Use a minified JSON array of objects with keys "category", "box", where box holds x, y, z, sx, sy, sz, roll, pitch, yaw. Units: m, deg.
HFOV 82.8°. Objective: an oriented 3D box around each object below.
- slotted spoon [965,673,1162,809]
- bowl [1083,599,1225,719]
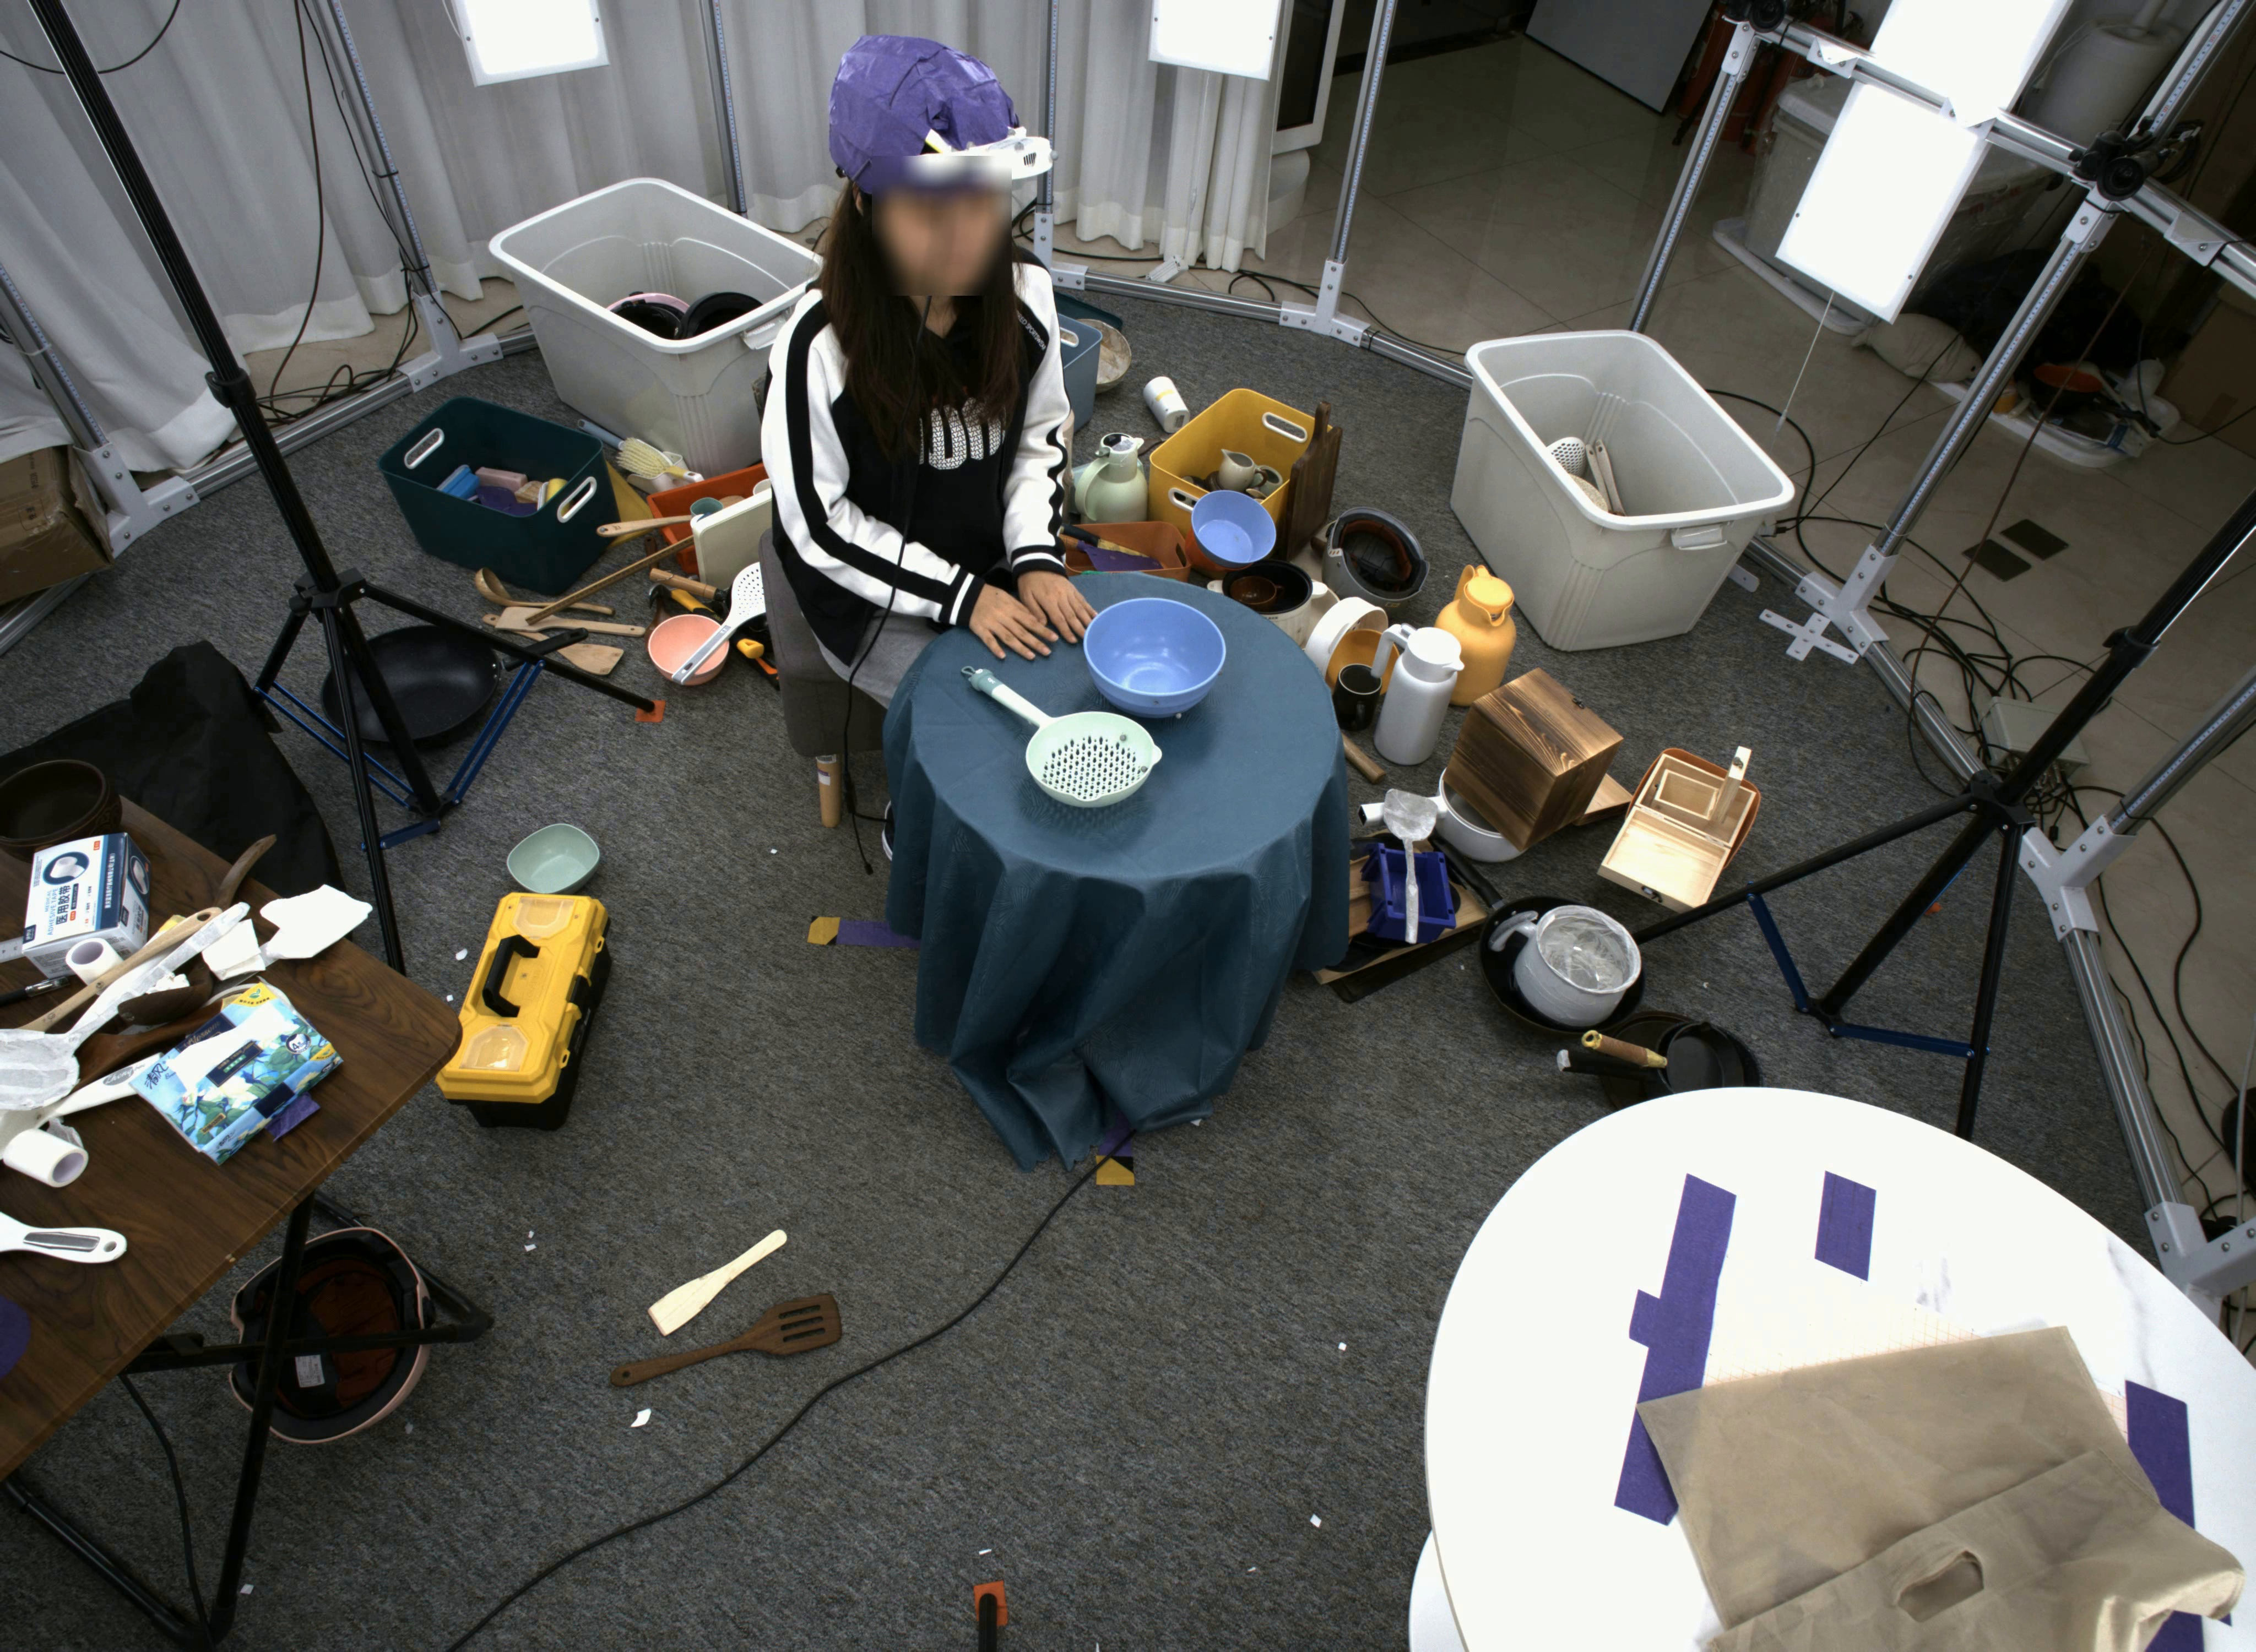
[{"category":"slotted spoon","box":[-0.113,-0.134,1.742,0.170,0.073,0.365,-31,56,-28]},{"category":"bowl","box":[0.034,-0.219,1.802,0.196,0.093,0.201,2,49,-2]}]
